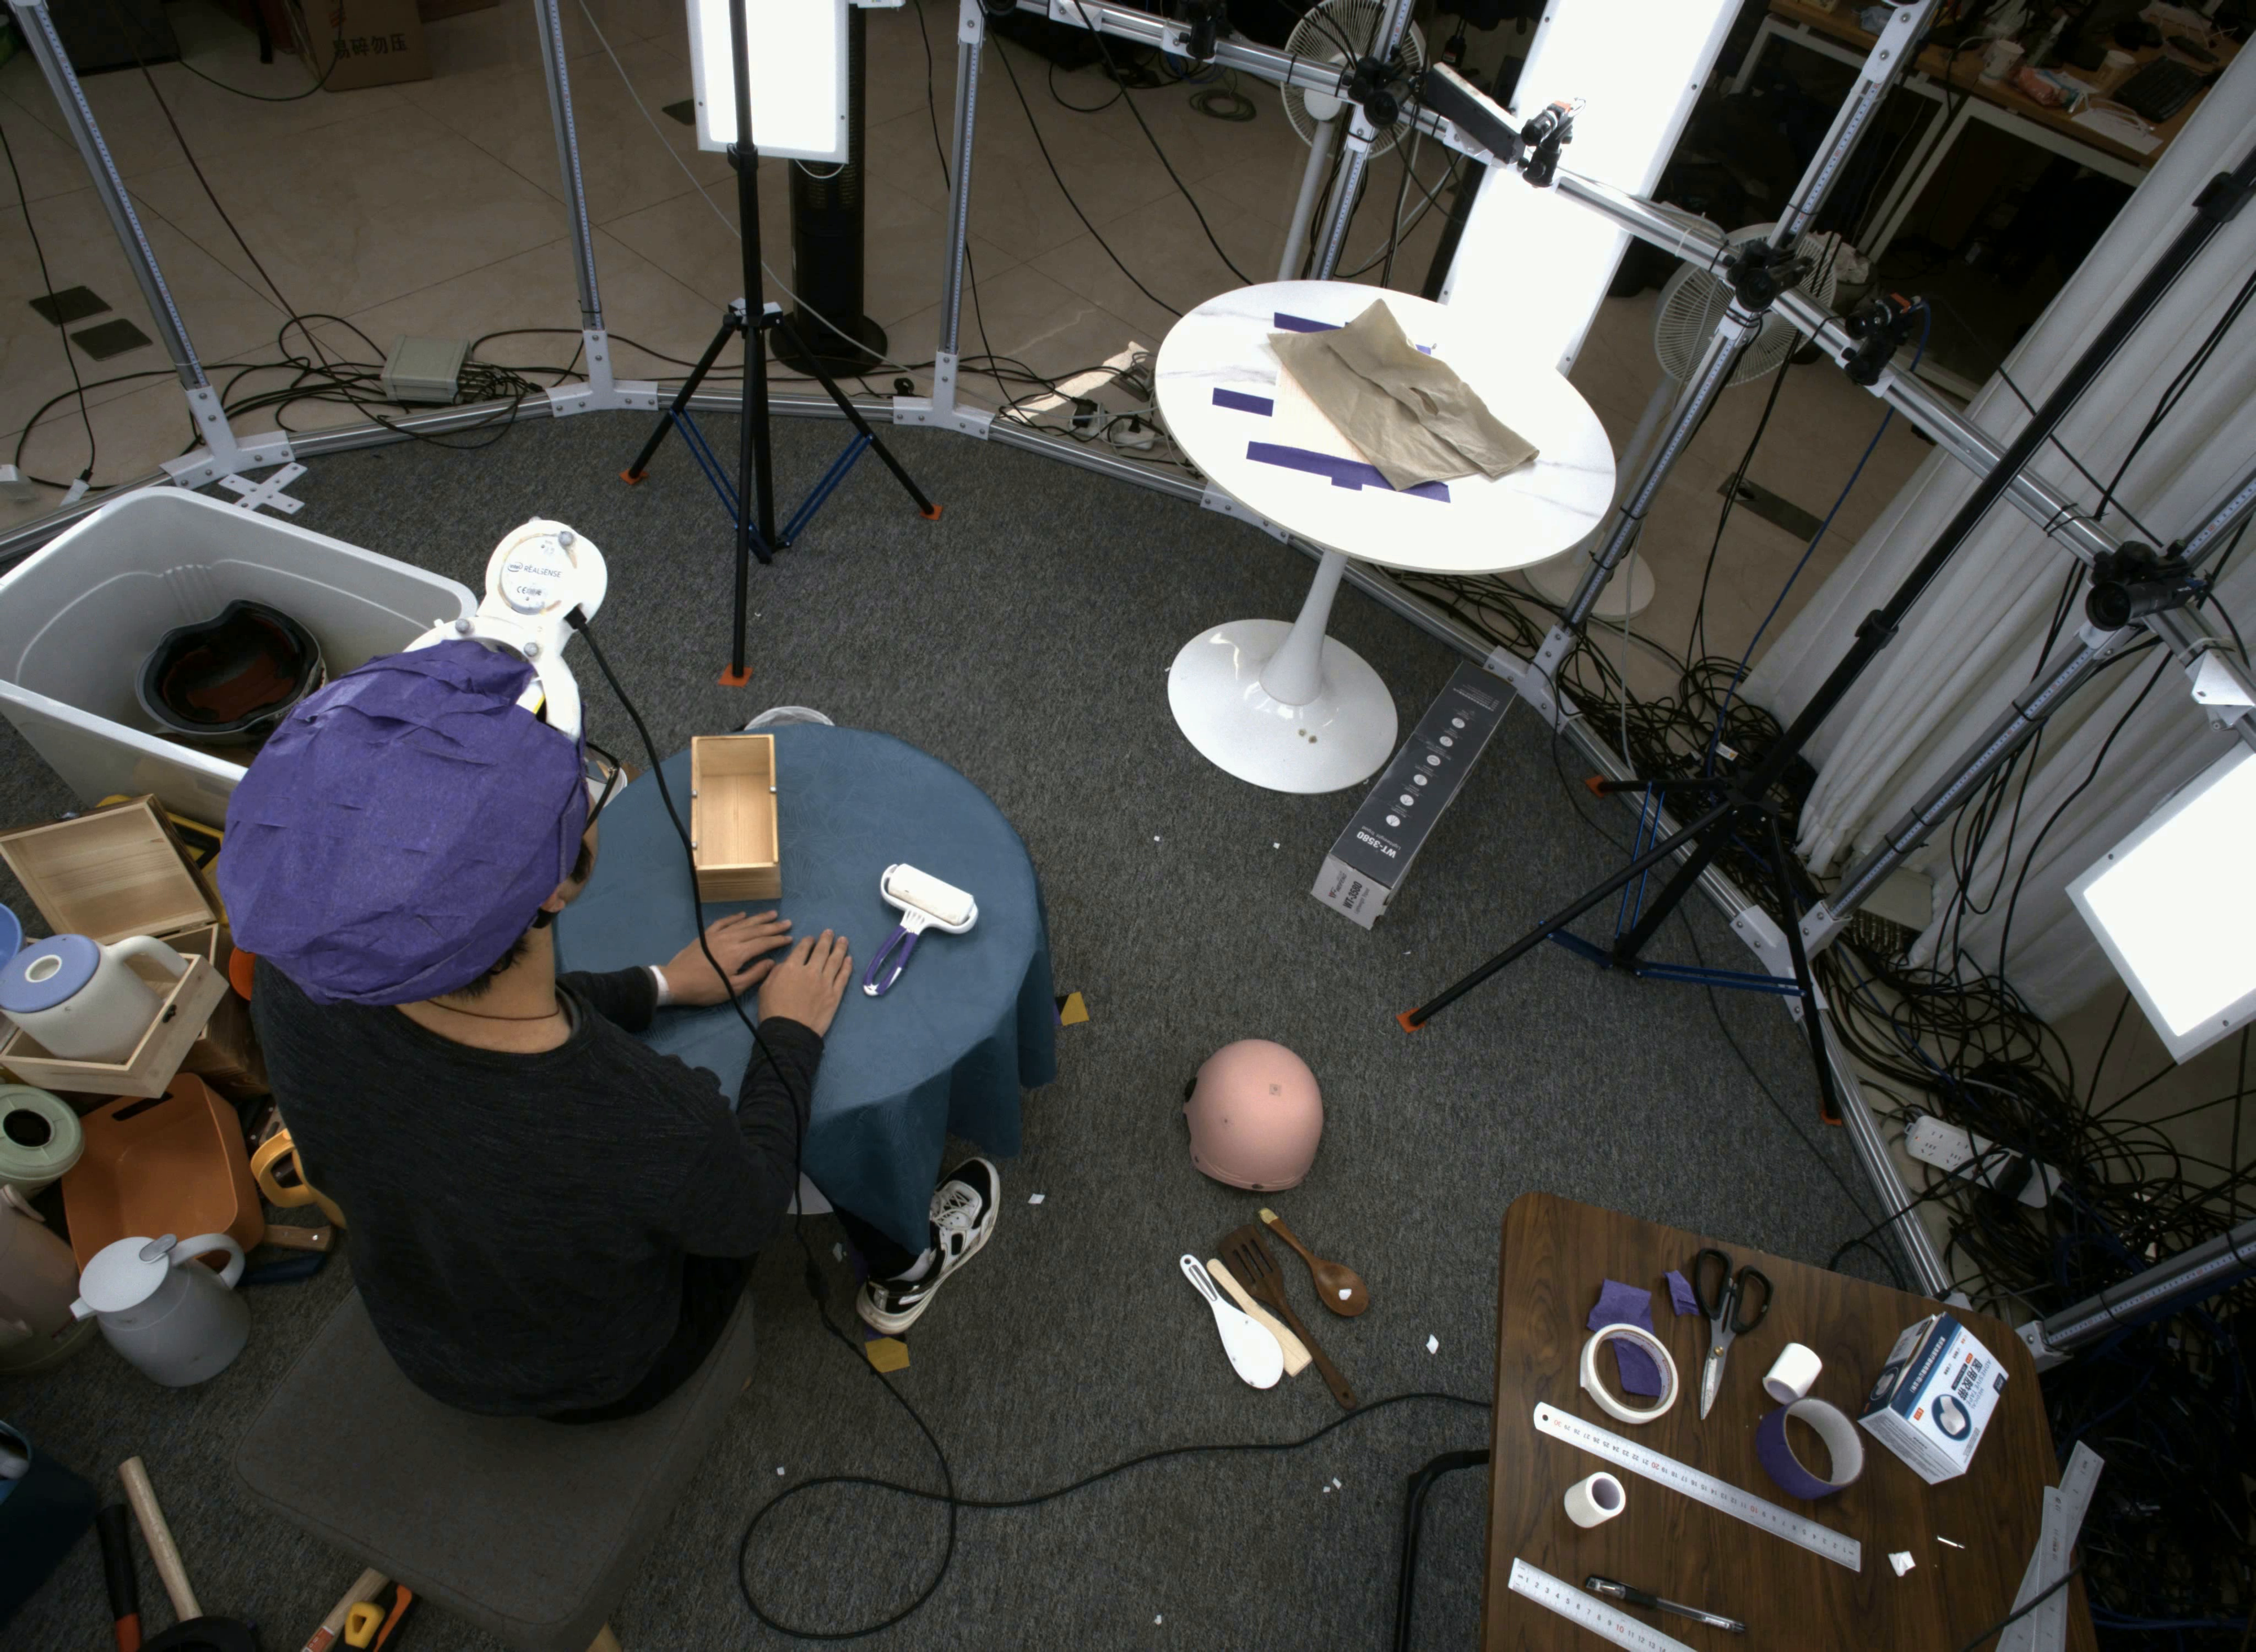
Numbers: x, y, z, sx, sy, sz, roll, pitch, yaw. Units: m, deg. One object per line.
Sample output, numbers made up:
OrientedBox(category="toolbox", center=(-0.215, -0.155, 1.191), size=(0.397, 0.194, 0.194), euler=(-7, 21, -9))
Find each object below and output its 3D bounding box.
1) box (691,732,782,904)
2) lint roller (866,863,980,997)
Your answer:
OrientedBox(category="box", center=(-0.503, -0.014, 1.657), size=(0.108, 0.082, 0.207), euler=(-3, 55, -16))
OrientedBox(category="lint roller", center=(-0.279, 0.131, 1.629), size=(0.131, 0.051, 0.180), euler=(27, 50, 5))
